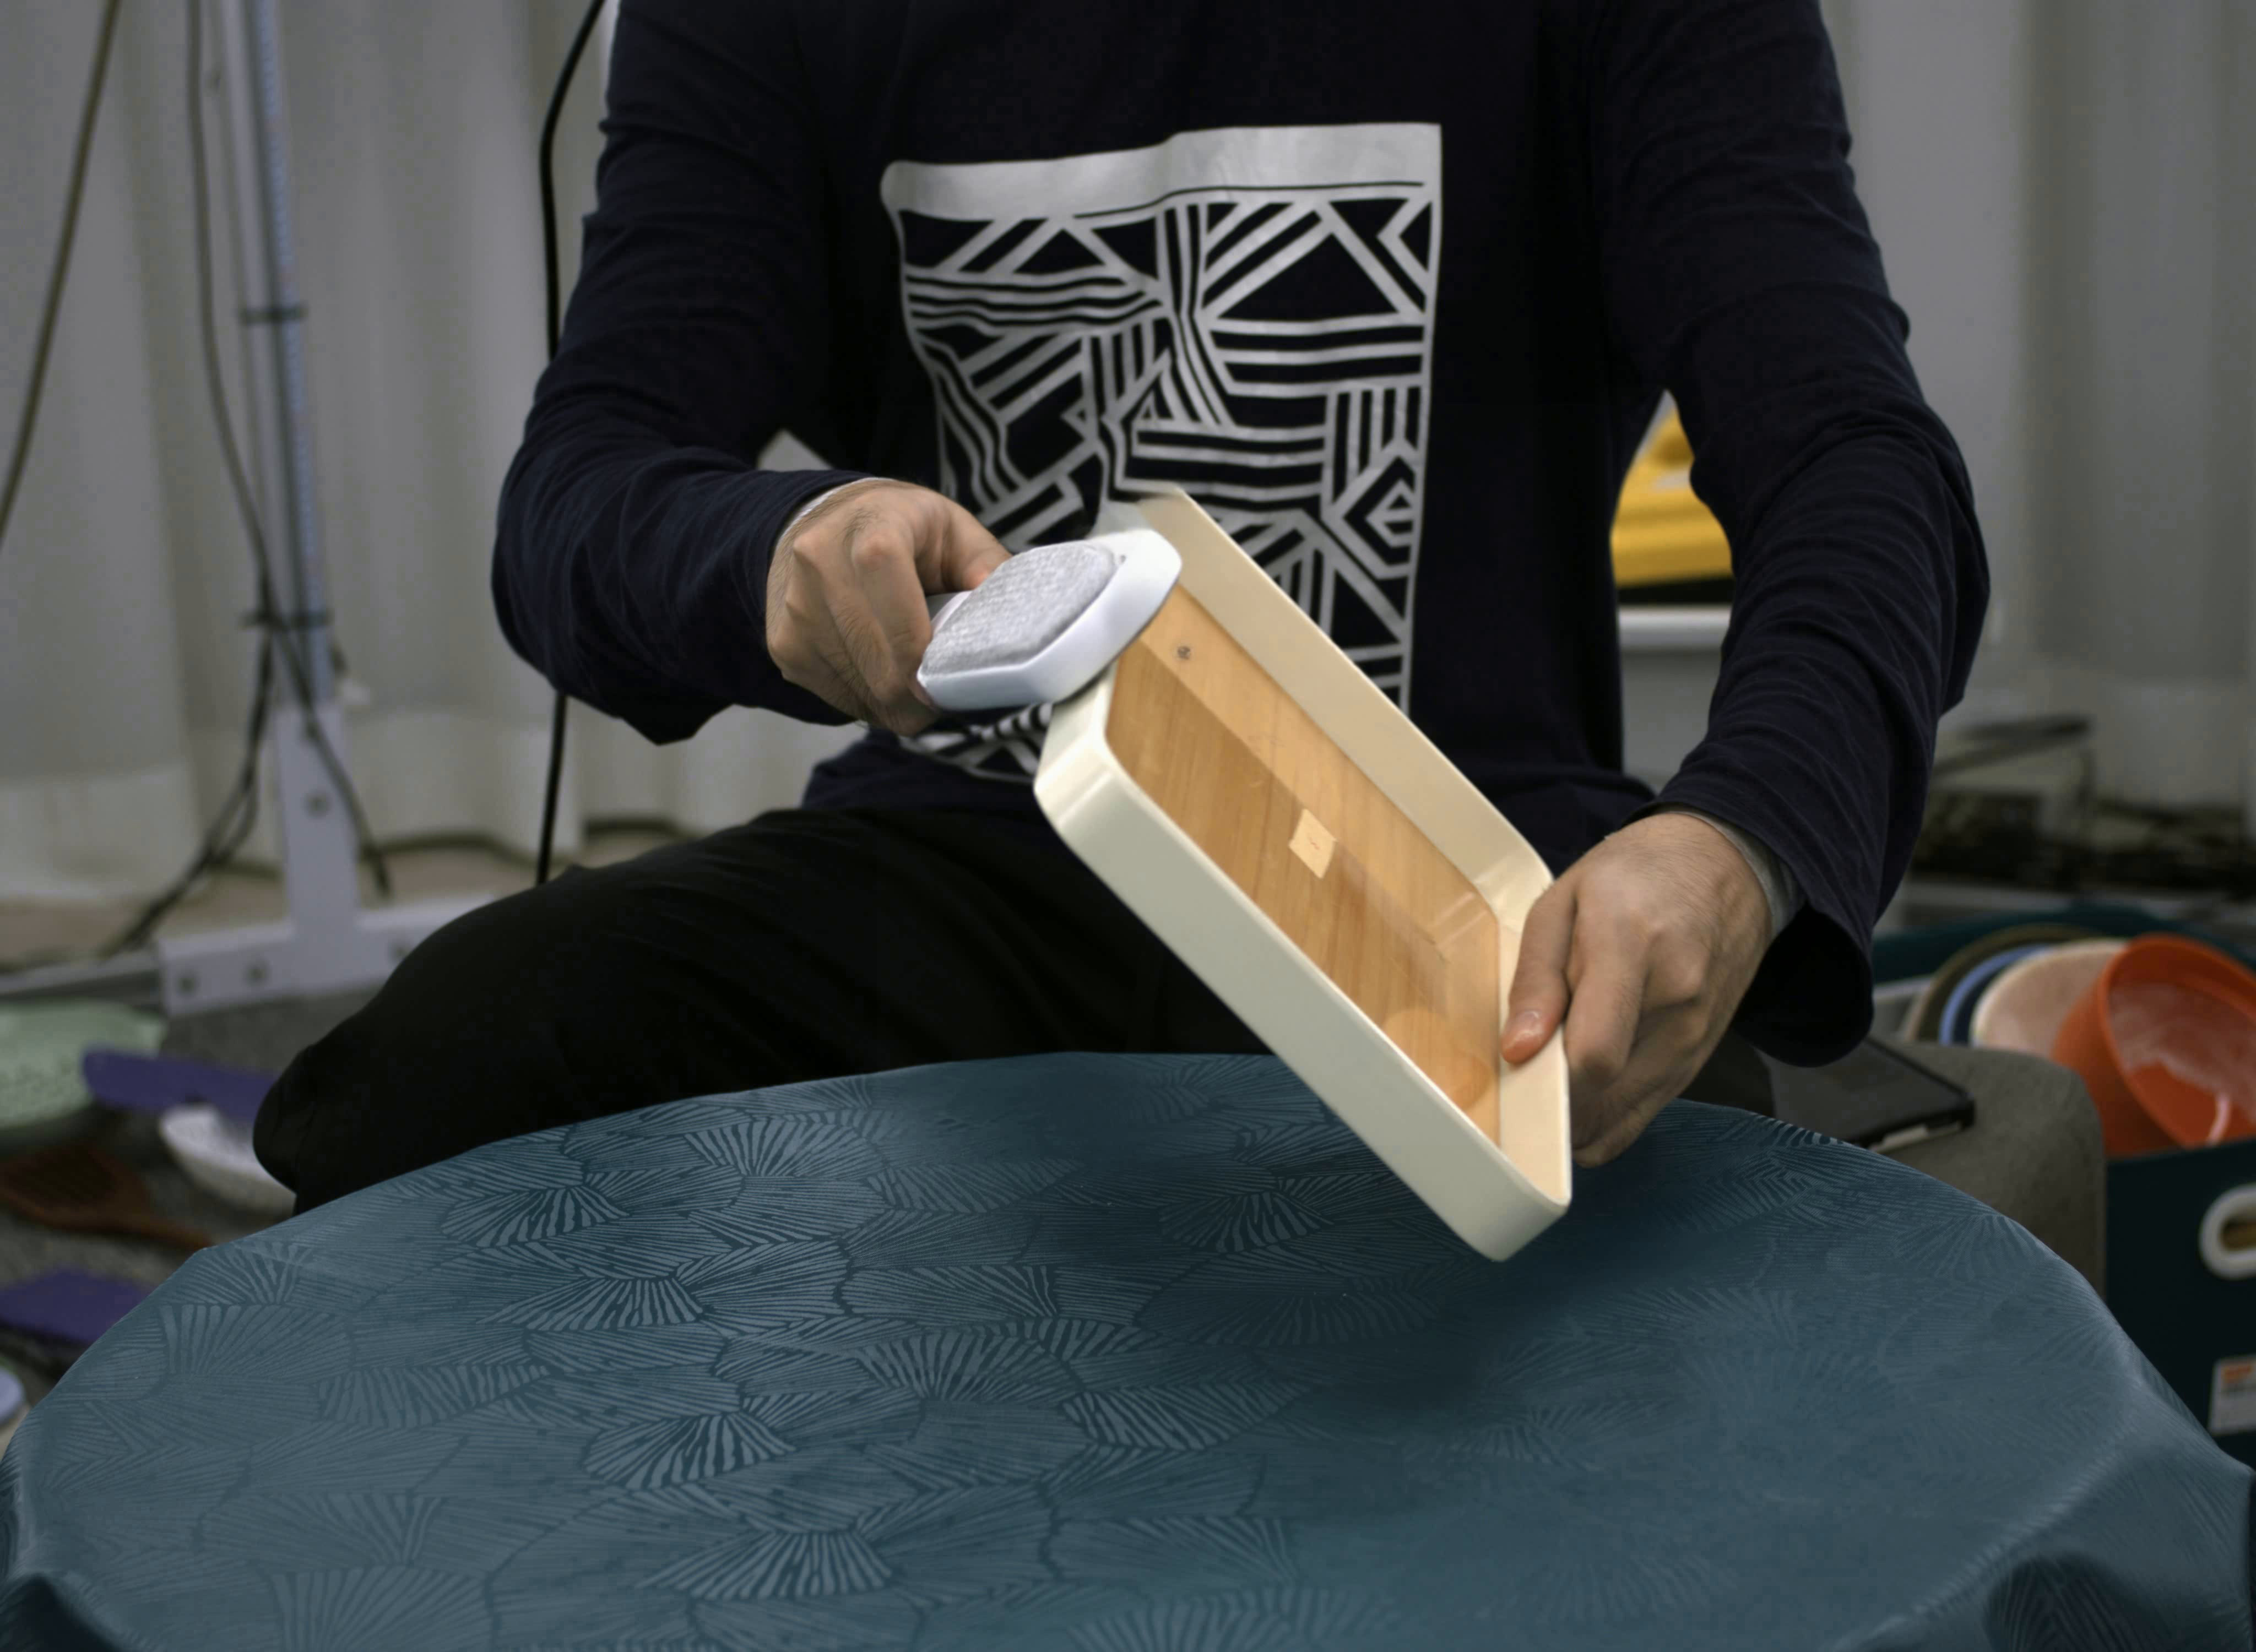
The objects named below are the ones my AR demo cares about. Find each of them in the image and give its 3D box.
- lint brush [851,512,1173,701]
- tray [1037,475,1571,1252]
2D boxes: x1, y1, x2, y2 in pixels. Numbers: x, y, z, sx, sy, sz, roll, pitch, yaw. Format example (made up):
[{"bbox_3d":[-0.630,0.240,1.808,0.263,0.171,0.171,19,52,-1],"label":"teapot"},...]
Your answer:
[{"bbox_3d":[-0.041,-0.064,1.655,0.021,0.060,0.309,39,-9,-12],"label":"lint brush"},{"bbox_3d":[0.056,0.004,1.611,0.027,0.191,0.302,-42,10,14],"label":"tray"}]
